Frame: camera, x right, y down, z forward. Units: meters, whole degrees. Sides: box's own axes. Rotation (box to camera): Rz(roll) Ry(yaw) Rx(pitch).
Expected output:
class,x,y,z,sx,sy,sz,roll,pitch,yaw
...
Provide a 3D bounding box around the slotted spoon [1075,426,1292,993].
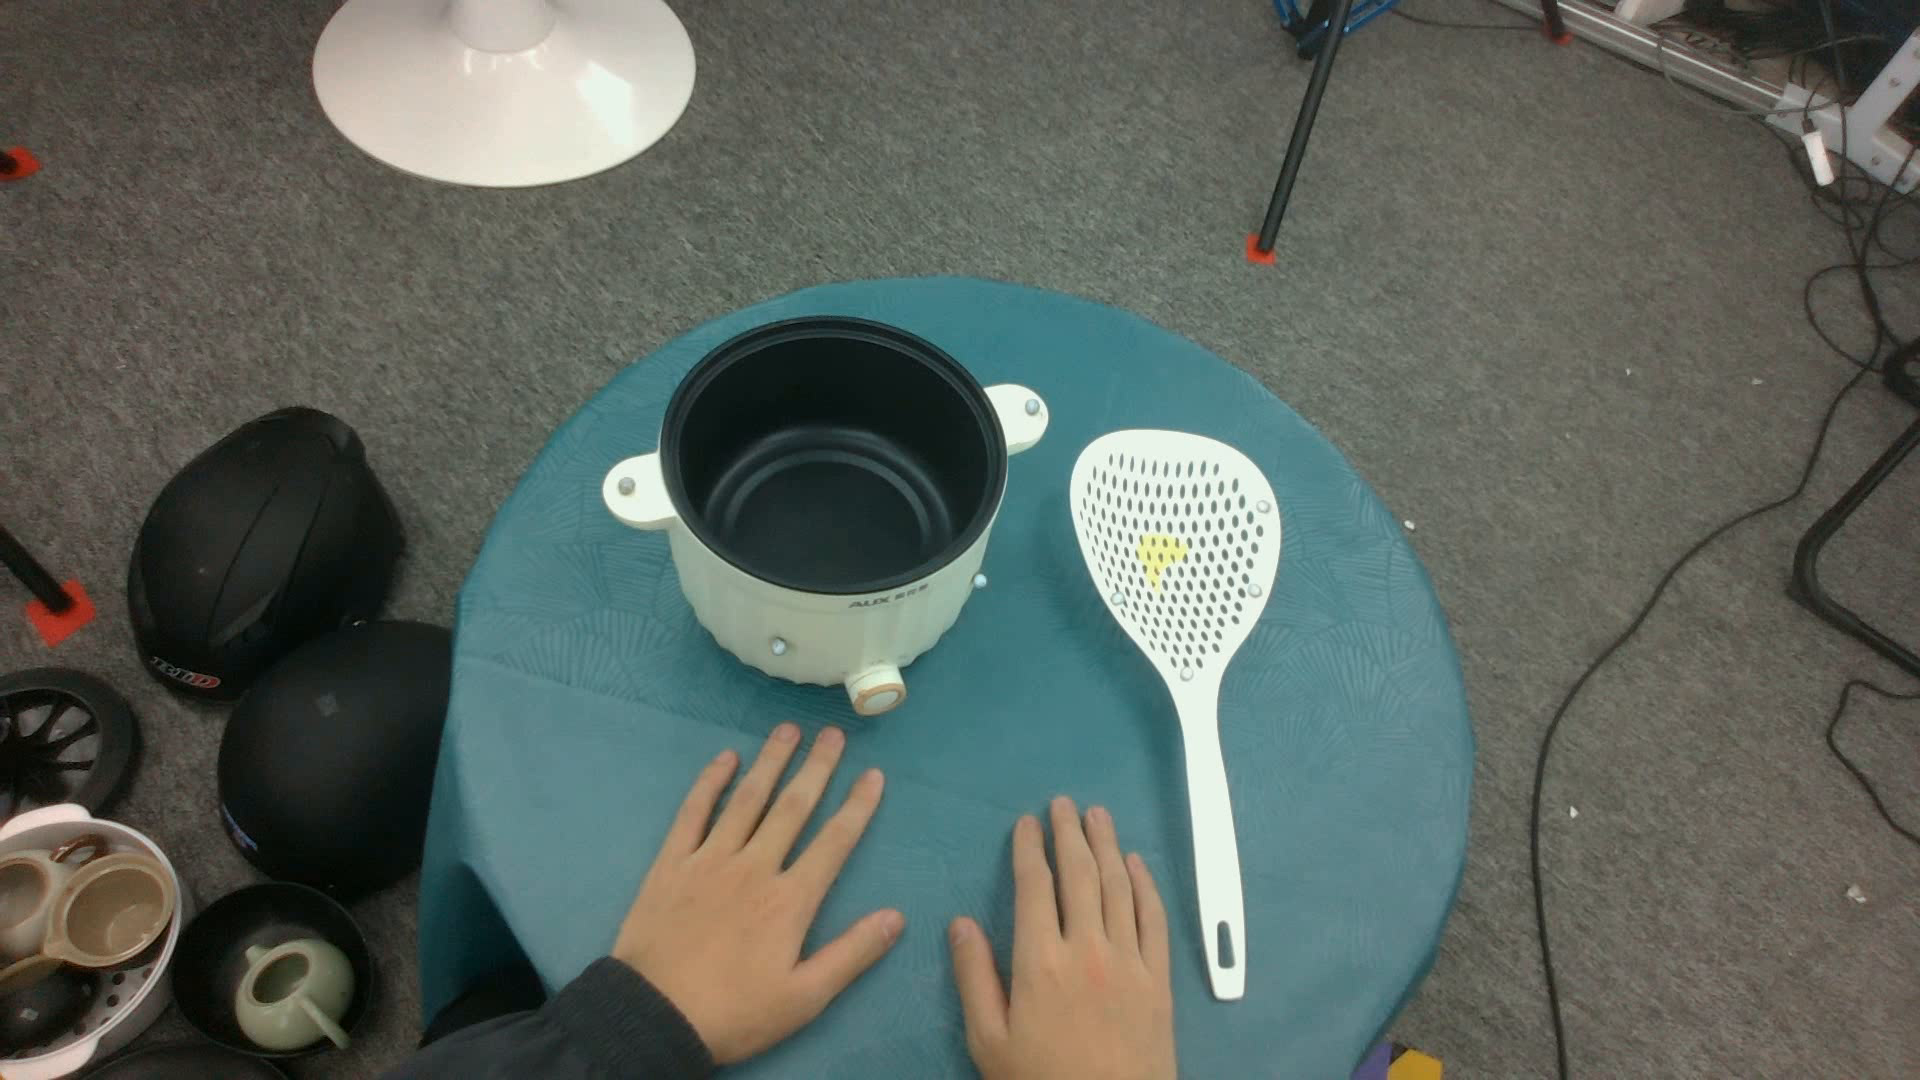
class,x,y,z,sx,sy,sz,roll,pitch,yaw
slotted spoon,0.146,0.083,0.806,0.137,0.050,0.349,0,55,-8

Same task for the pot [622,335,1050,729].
class,x,y,z,sx,sy,sz,roll,pitch,yaw
pot,-0.063,0.000,0.783,0.241,0.142,0.191,-18,56,-16
